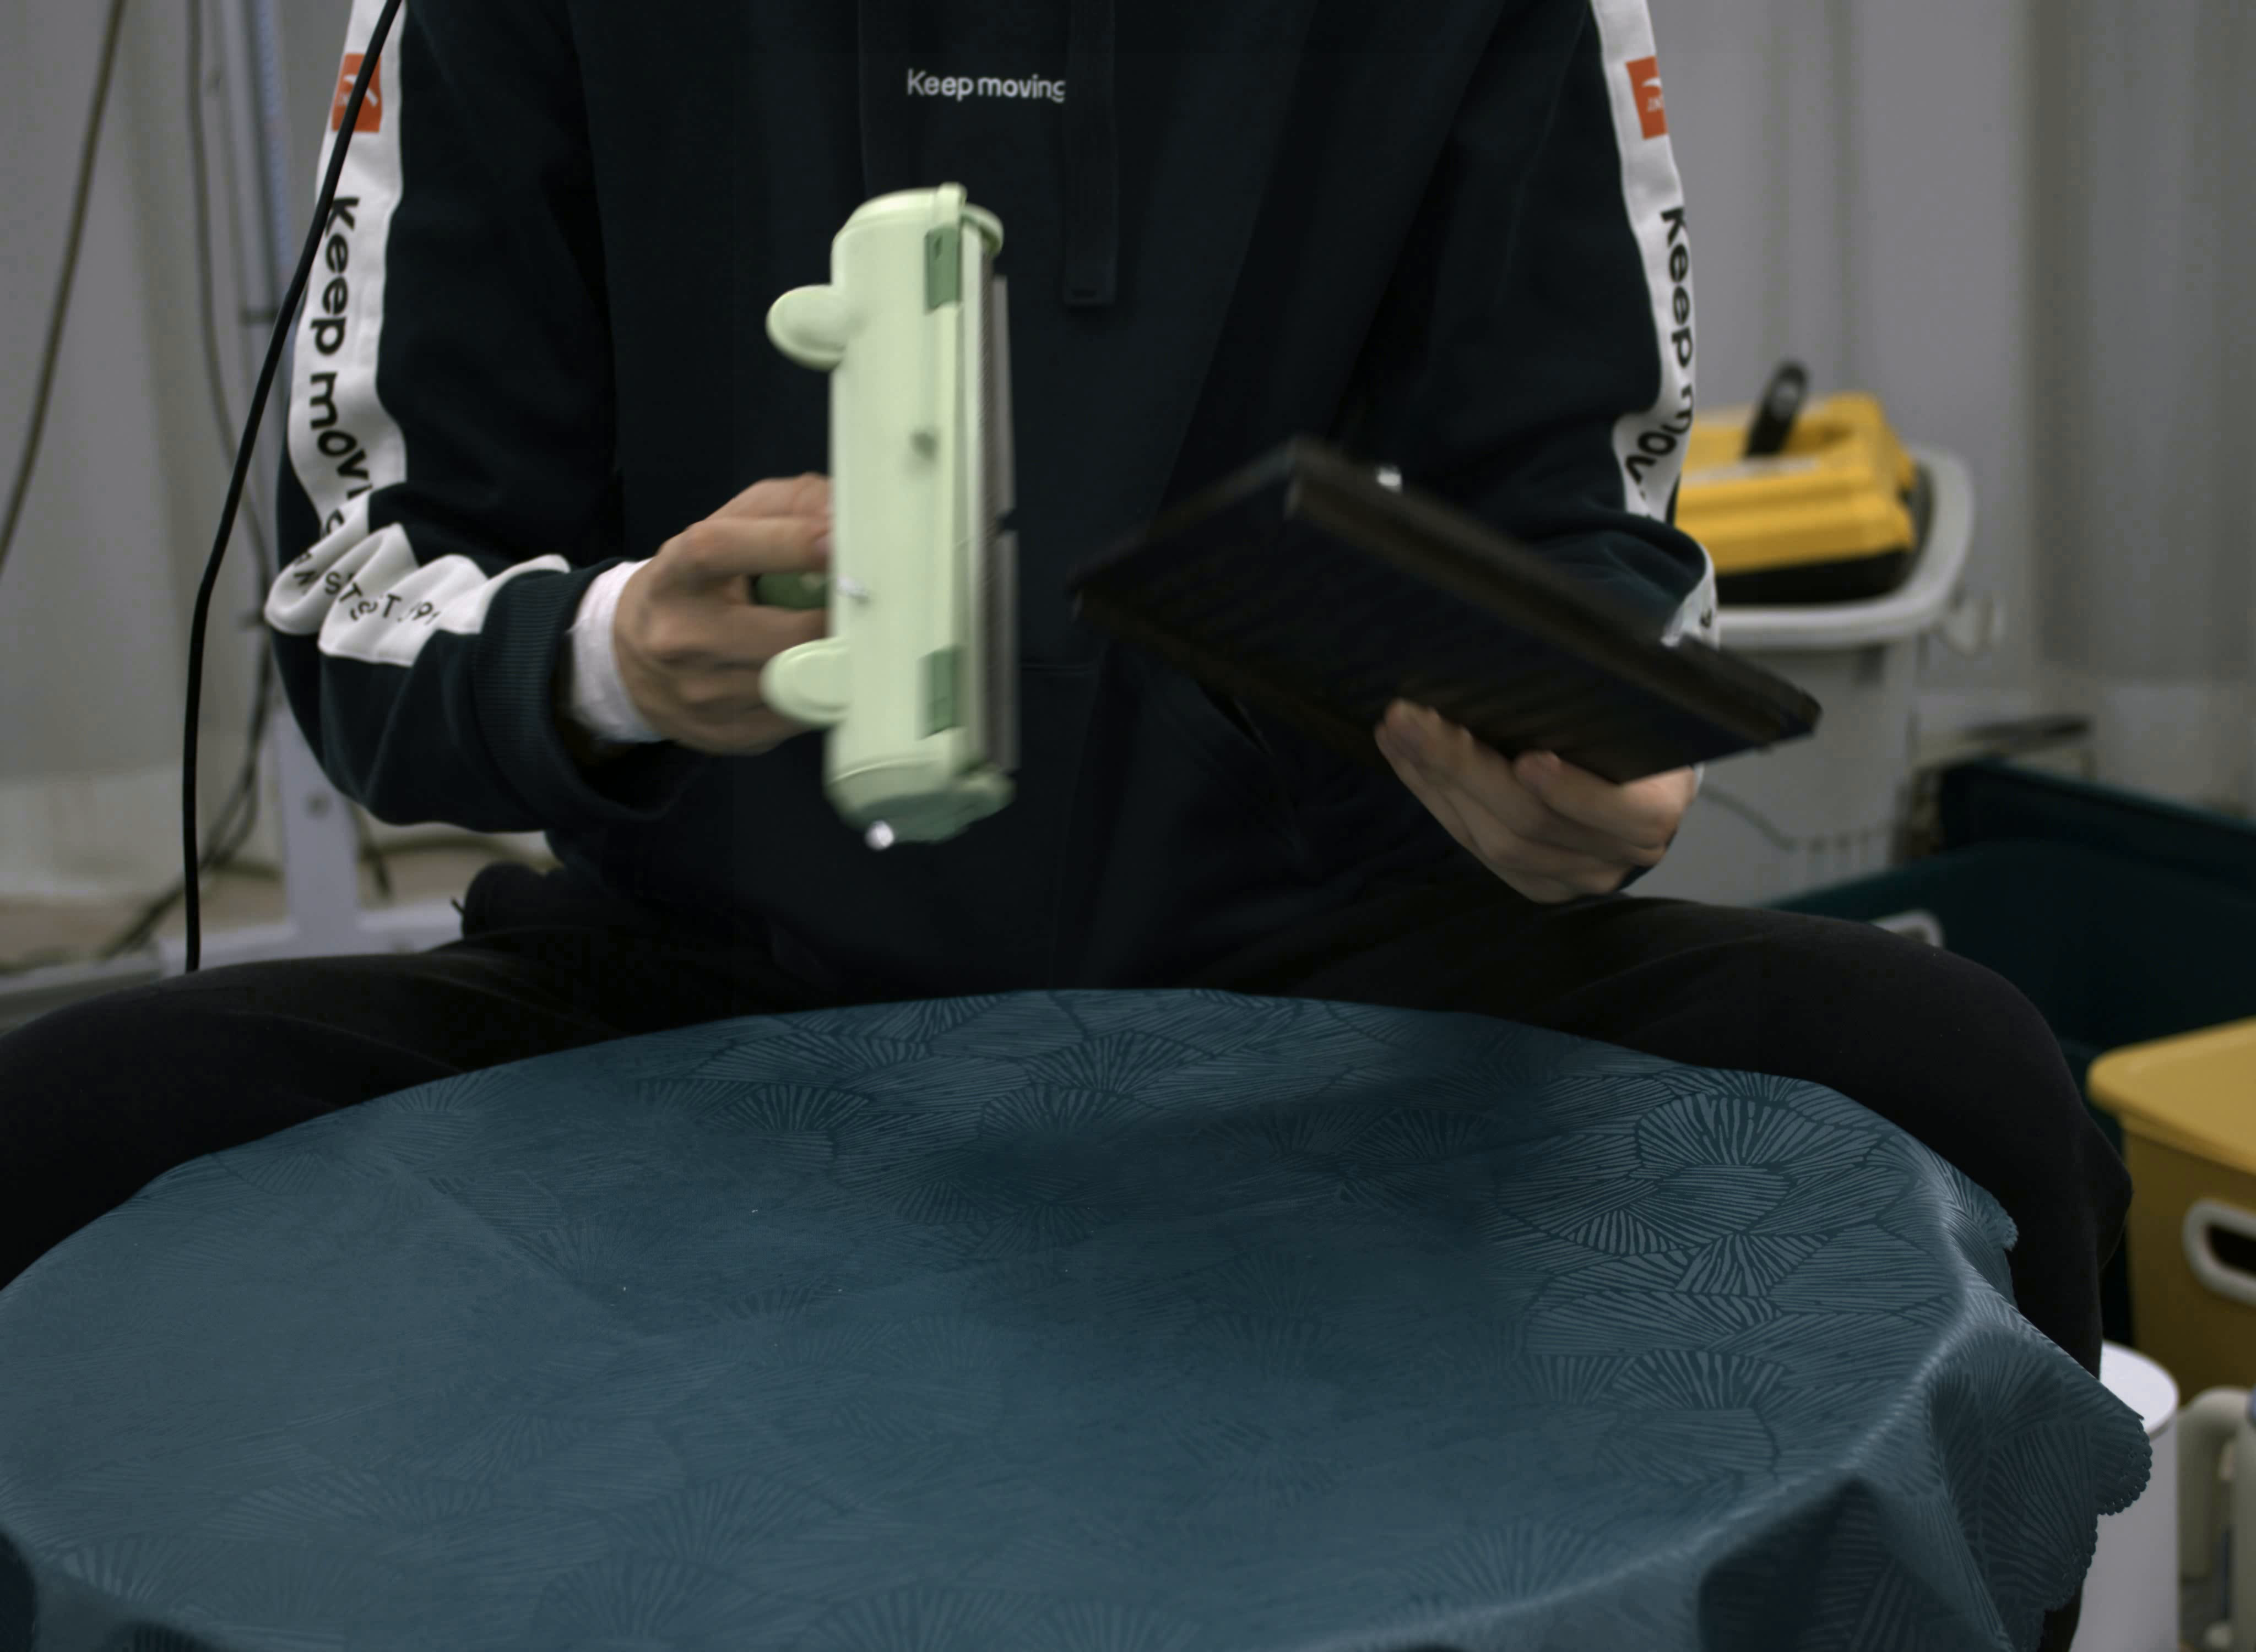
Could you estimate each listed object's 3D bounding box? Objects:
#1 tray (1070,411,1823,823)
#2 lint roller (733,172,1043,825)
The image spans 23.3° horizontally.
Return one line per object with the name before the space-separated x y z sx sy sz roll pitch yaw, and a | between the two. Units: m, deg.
tray | 0.086 -0.056 1.654 0.169 0.019 0.305 29 -11 -9
lint roller | -0.097 -0.088 1.728 0.081 0.200 0.183 8 -19 -35
